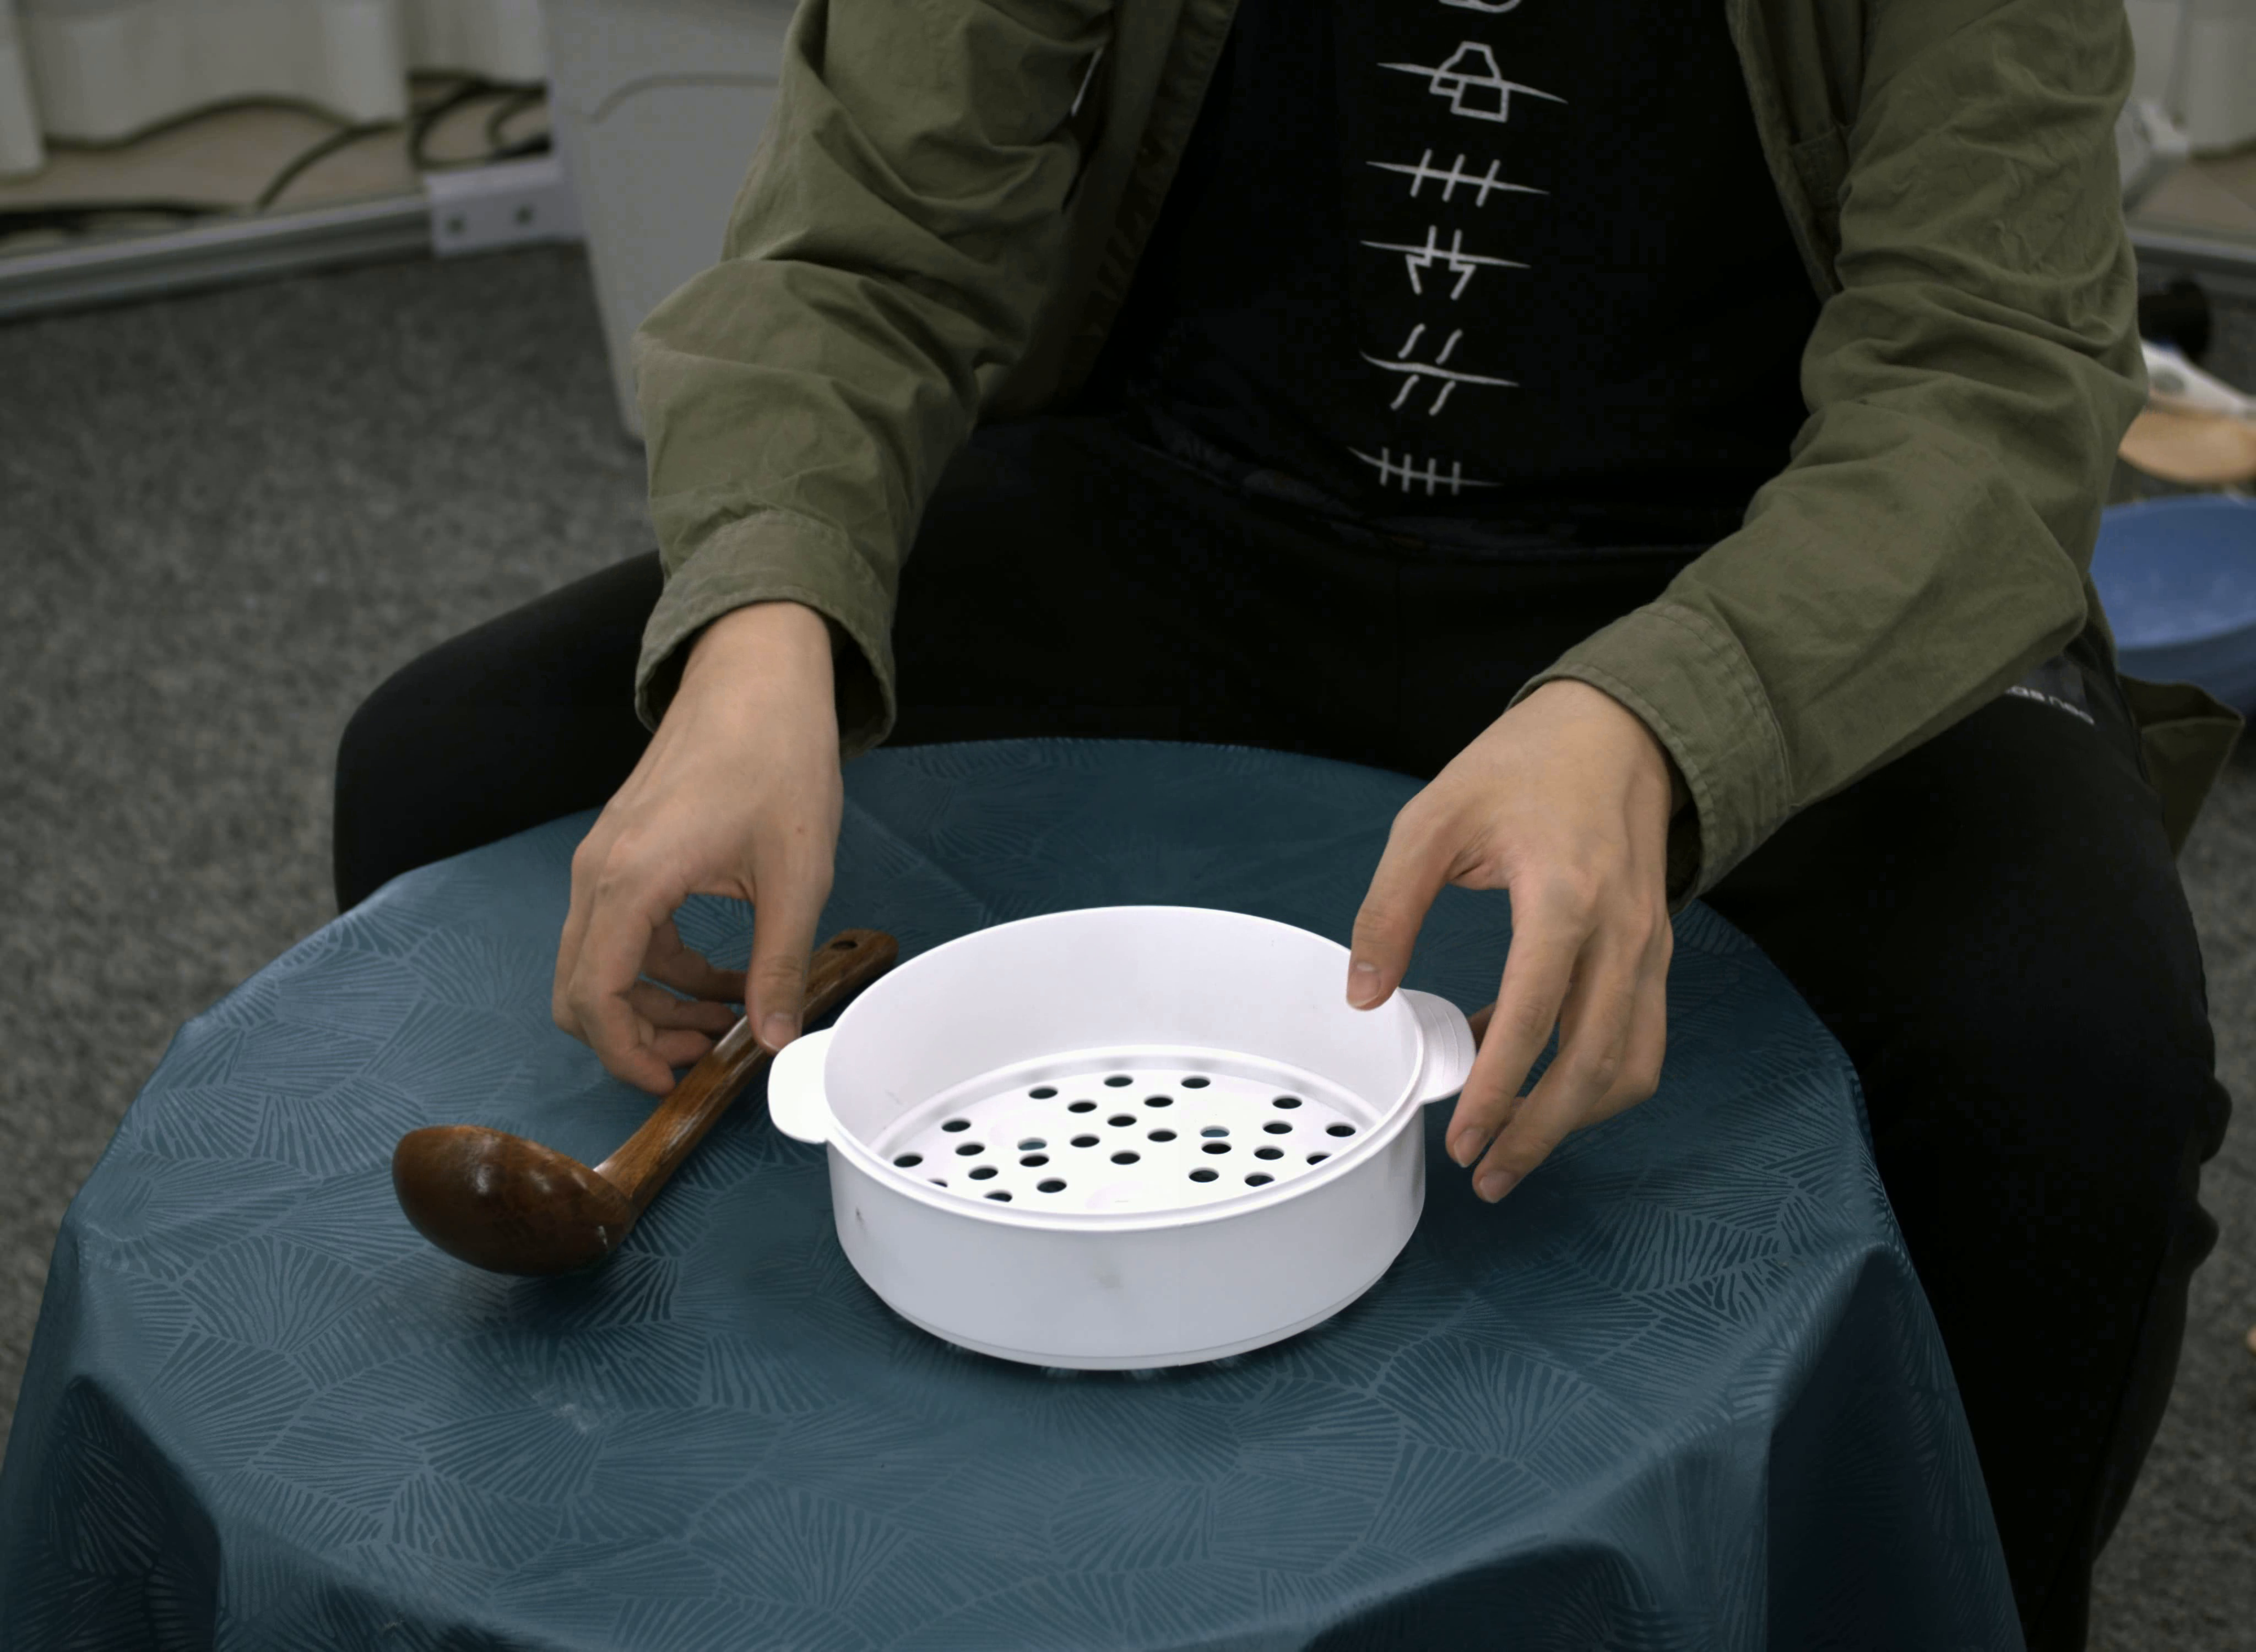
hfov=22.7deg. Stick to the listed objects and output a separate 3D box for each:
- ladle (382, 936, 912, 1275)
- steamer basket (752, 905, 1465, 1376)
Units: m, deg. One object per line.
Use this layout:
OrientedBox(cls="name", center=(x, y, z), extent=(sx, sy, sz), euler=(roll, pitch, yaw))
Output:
OrientedBox(cls="ladle", center=(-0.153, 0.073, 1.884), extent=(0.081, 0.076, 0.278), euler=(8, 29, 26))
OrientedBox(cls="steamer basket", center=(-0.005, 0.102, 1.822), extent=(0.229, 0.068, 0.205), euler=(-3, 28, -1))
